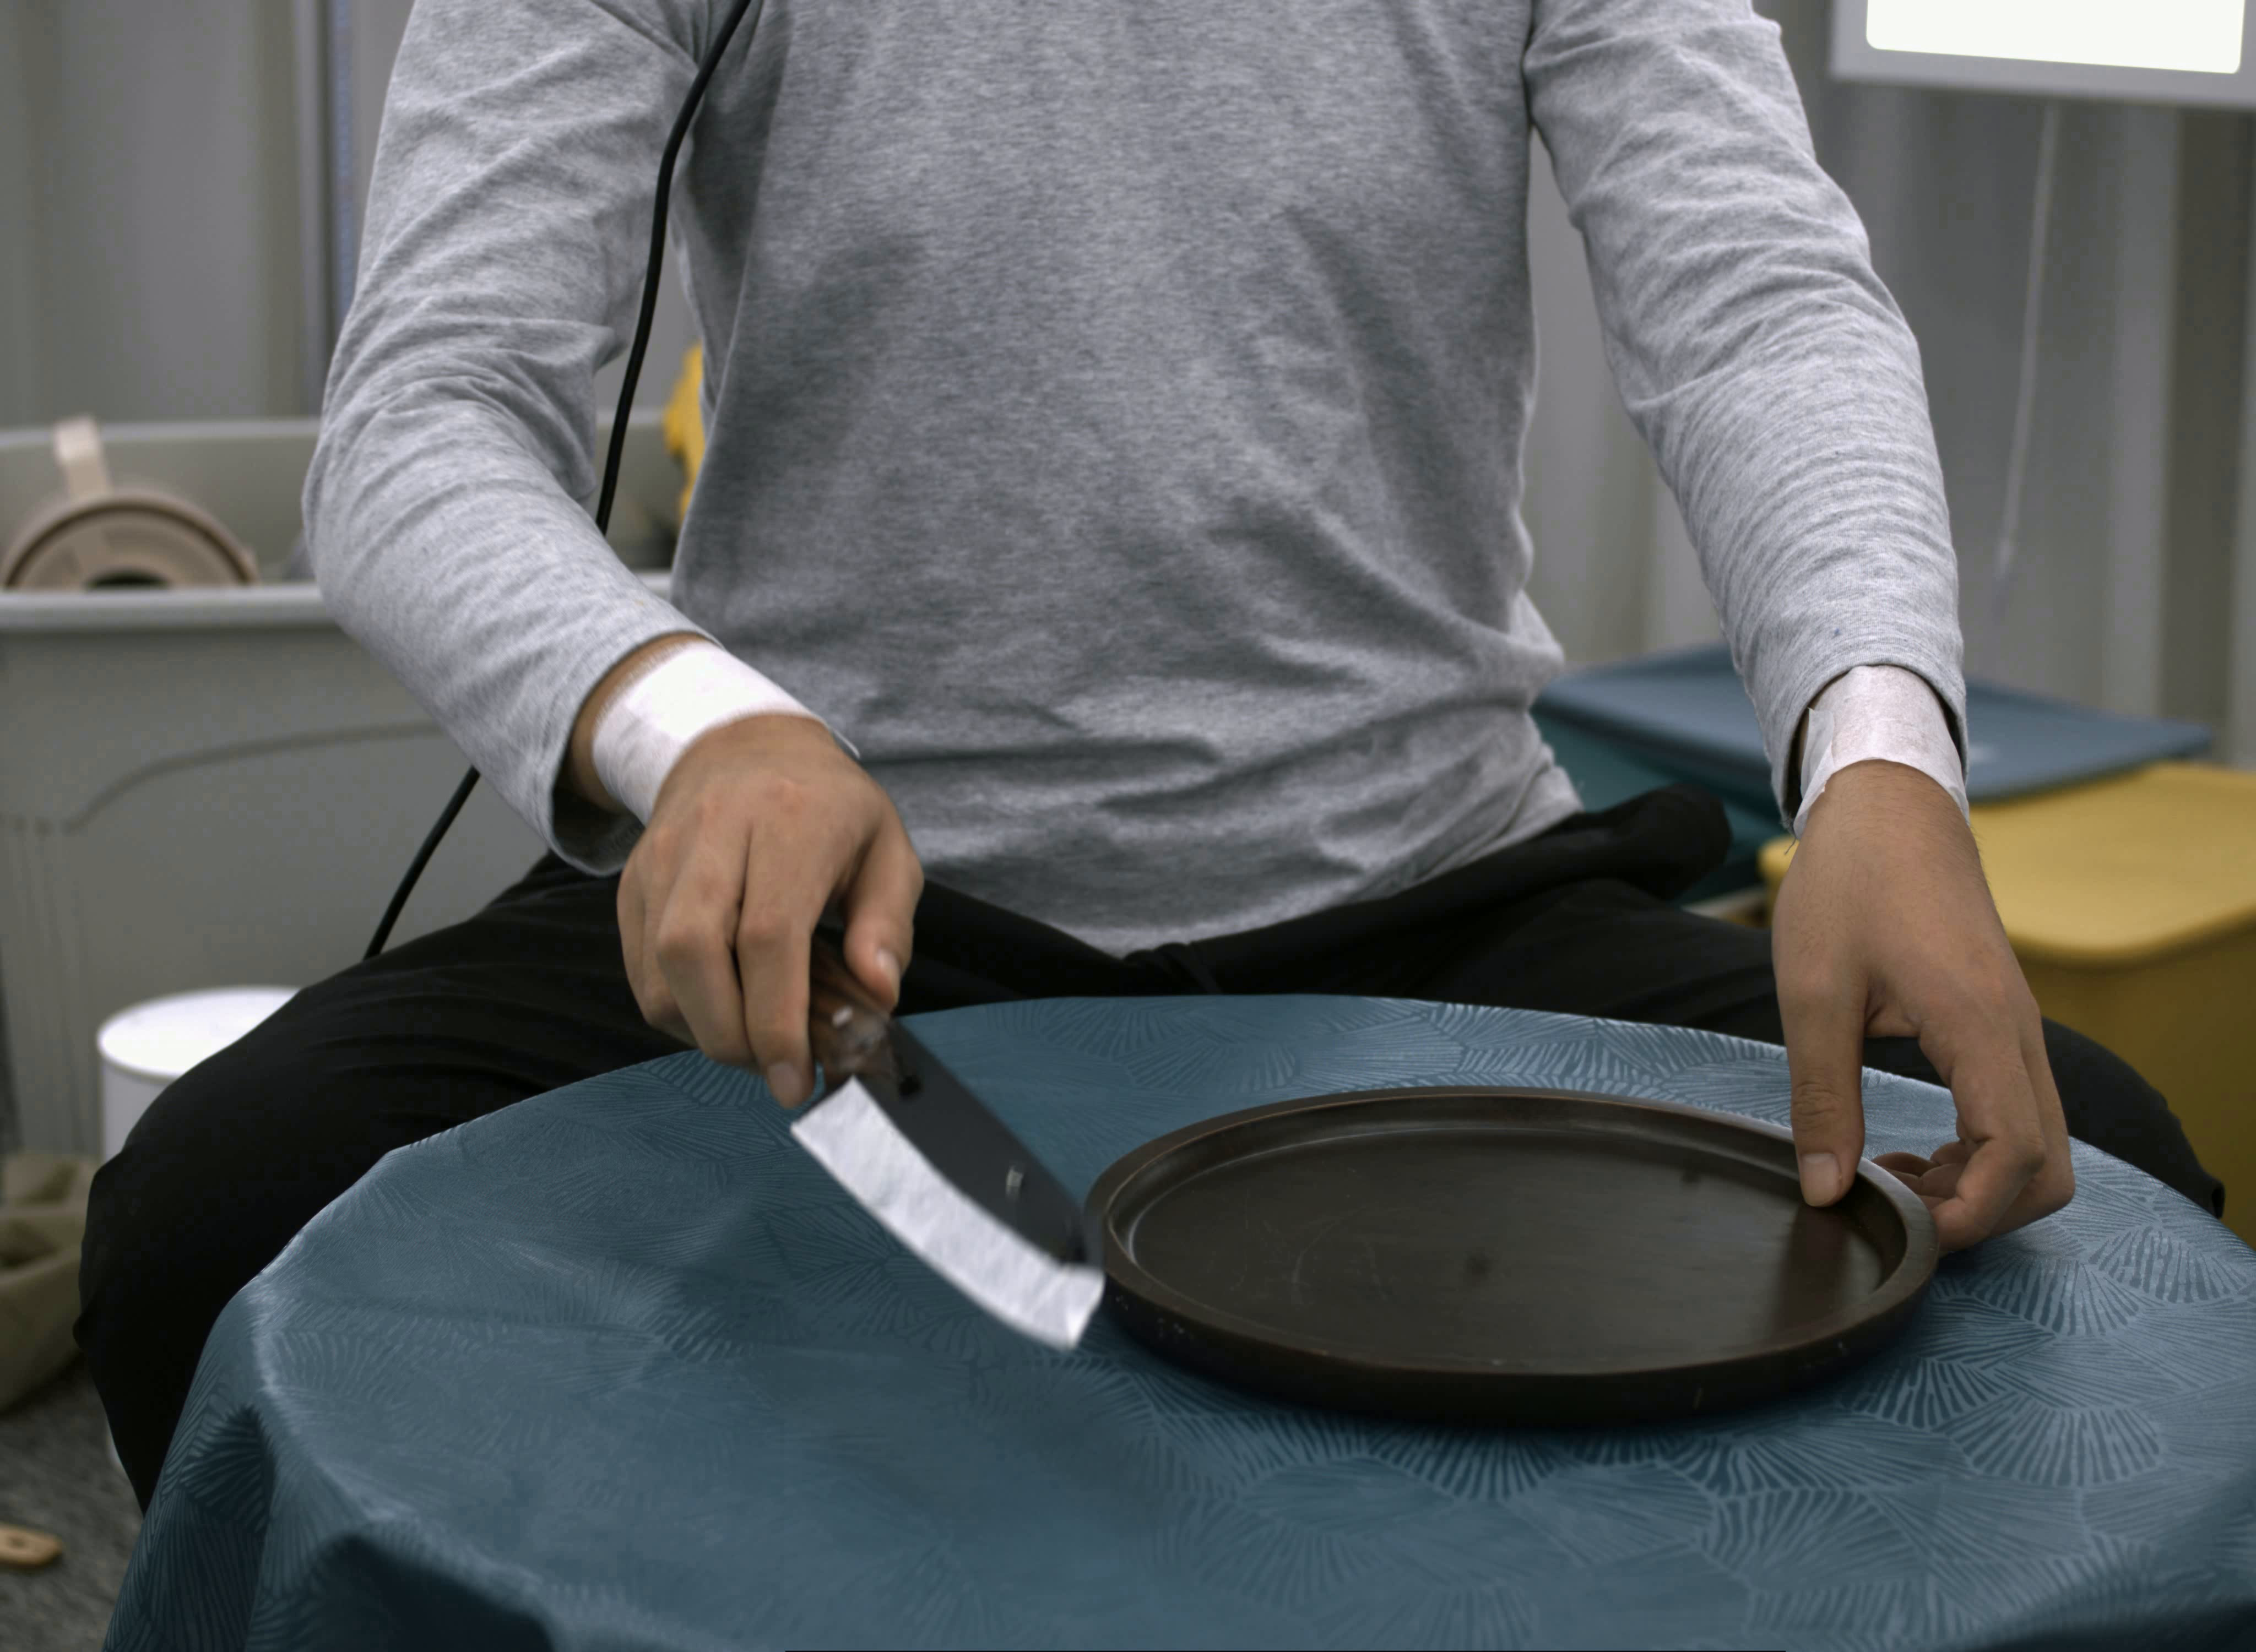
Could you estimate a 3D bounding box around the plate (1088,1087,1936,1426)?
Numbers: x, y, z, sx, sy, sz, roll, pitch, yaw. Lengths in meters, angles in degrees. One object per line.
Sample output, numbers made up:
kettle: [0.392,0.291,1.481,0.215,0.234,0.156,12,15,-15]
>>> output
plate: [0.110,0.123,1.543,0.254,0.029,0.253,-1,15,1]

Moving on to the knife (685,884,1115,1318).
knife: [-0.066,0.074,1.463,0.050,0.020,0.285,-38,31,-7]
